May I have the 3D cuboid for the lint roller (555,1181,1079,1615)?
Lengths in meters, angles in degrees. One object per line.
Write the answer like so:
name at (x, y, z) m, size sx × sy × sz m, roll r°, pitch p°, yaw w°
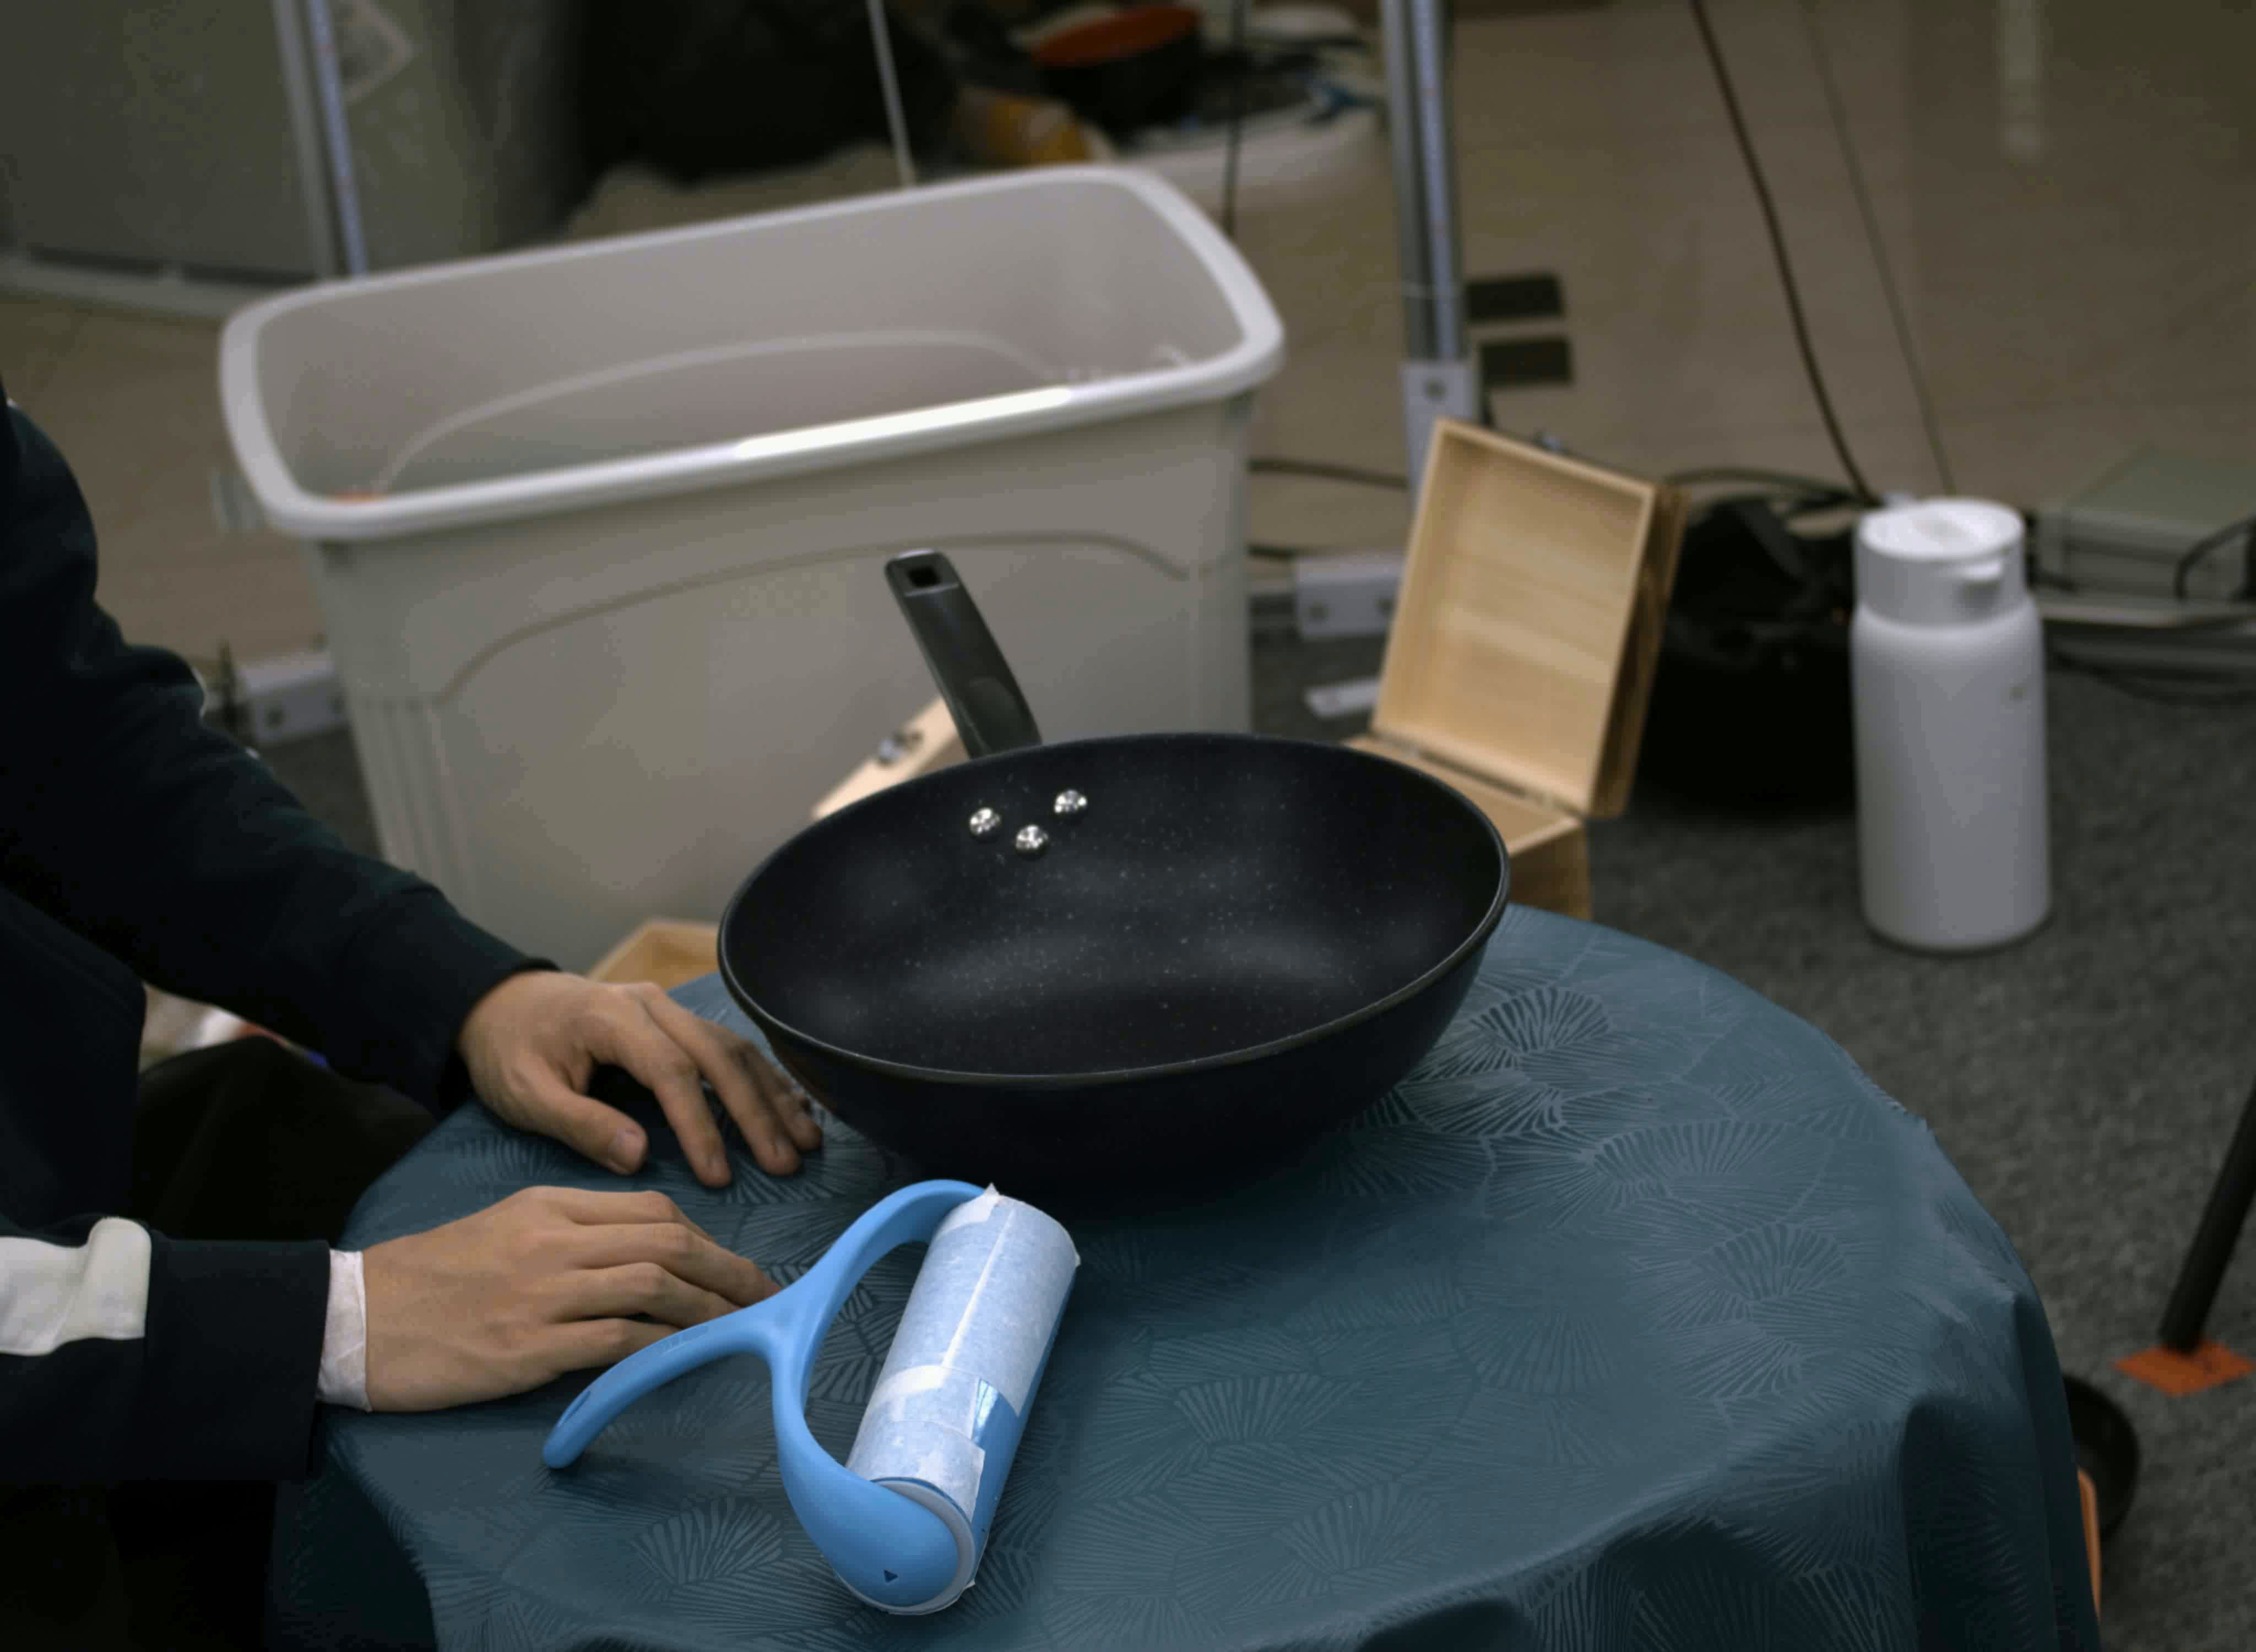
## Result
lint roller at (-0.116, 0.199, 1.977) m, size 0.180 × 0.069 × 0.225 m, roll -2°, pitch 28°, yaw 7°

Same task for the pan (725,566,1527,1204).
pan at (-0.022, 0.026, 2.263) m, size 0.309 × 0.113 × 0.470 m, roll -11°, pitch 25°, yaw -13°
